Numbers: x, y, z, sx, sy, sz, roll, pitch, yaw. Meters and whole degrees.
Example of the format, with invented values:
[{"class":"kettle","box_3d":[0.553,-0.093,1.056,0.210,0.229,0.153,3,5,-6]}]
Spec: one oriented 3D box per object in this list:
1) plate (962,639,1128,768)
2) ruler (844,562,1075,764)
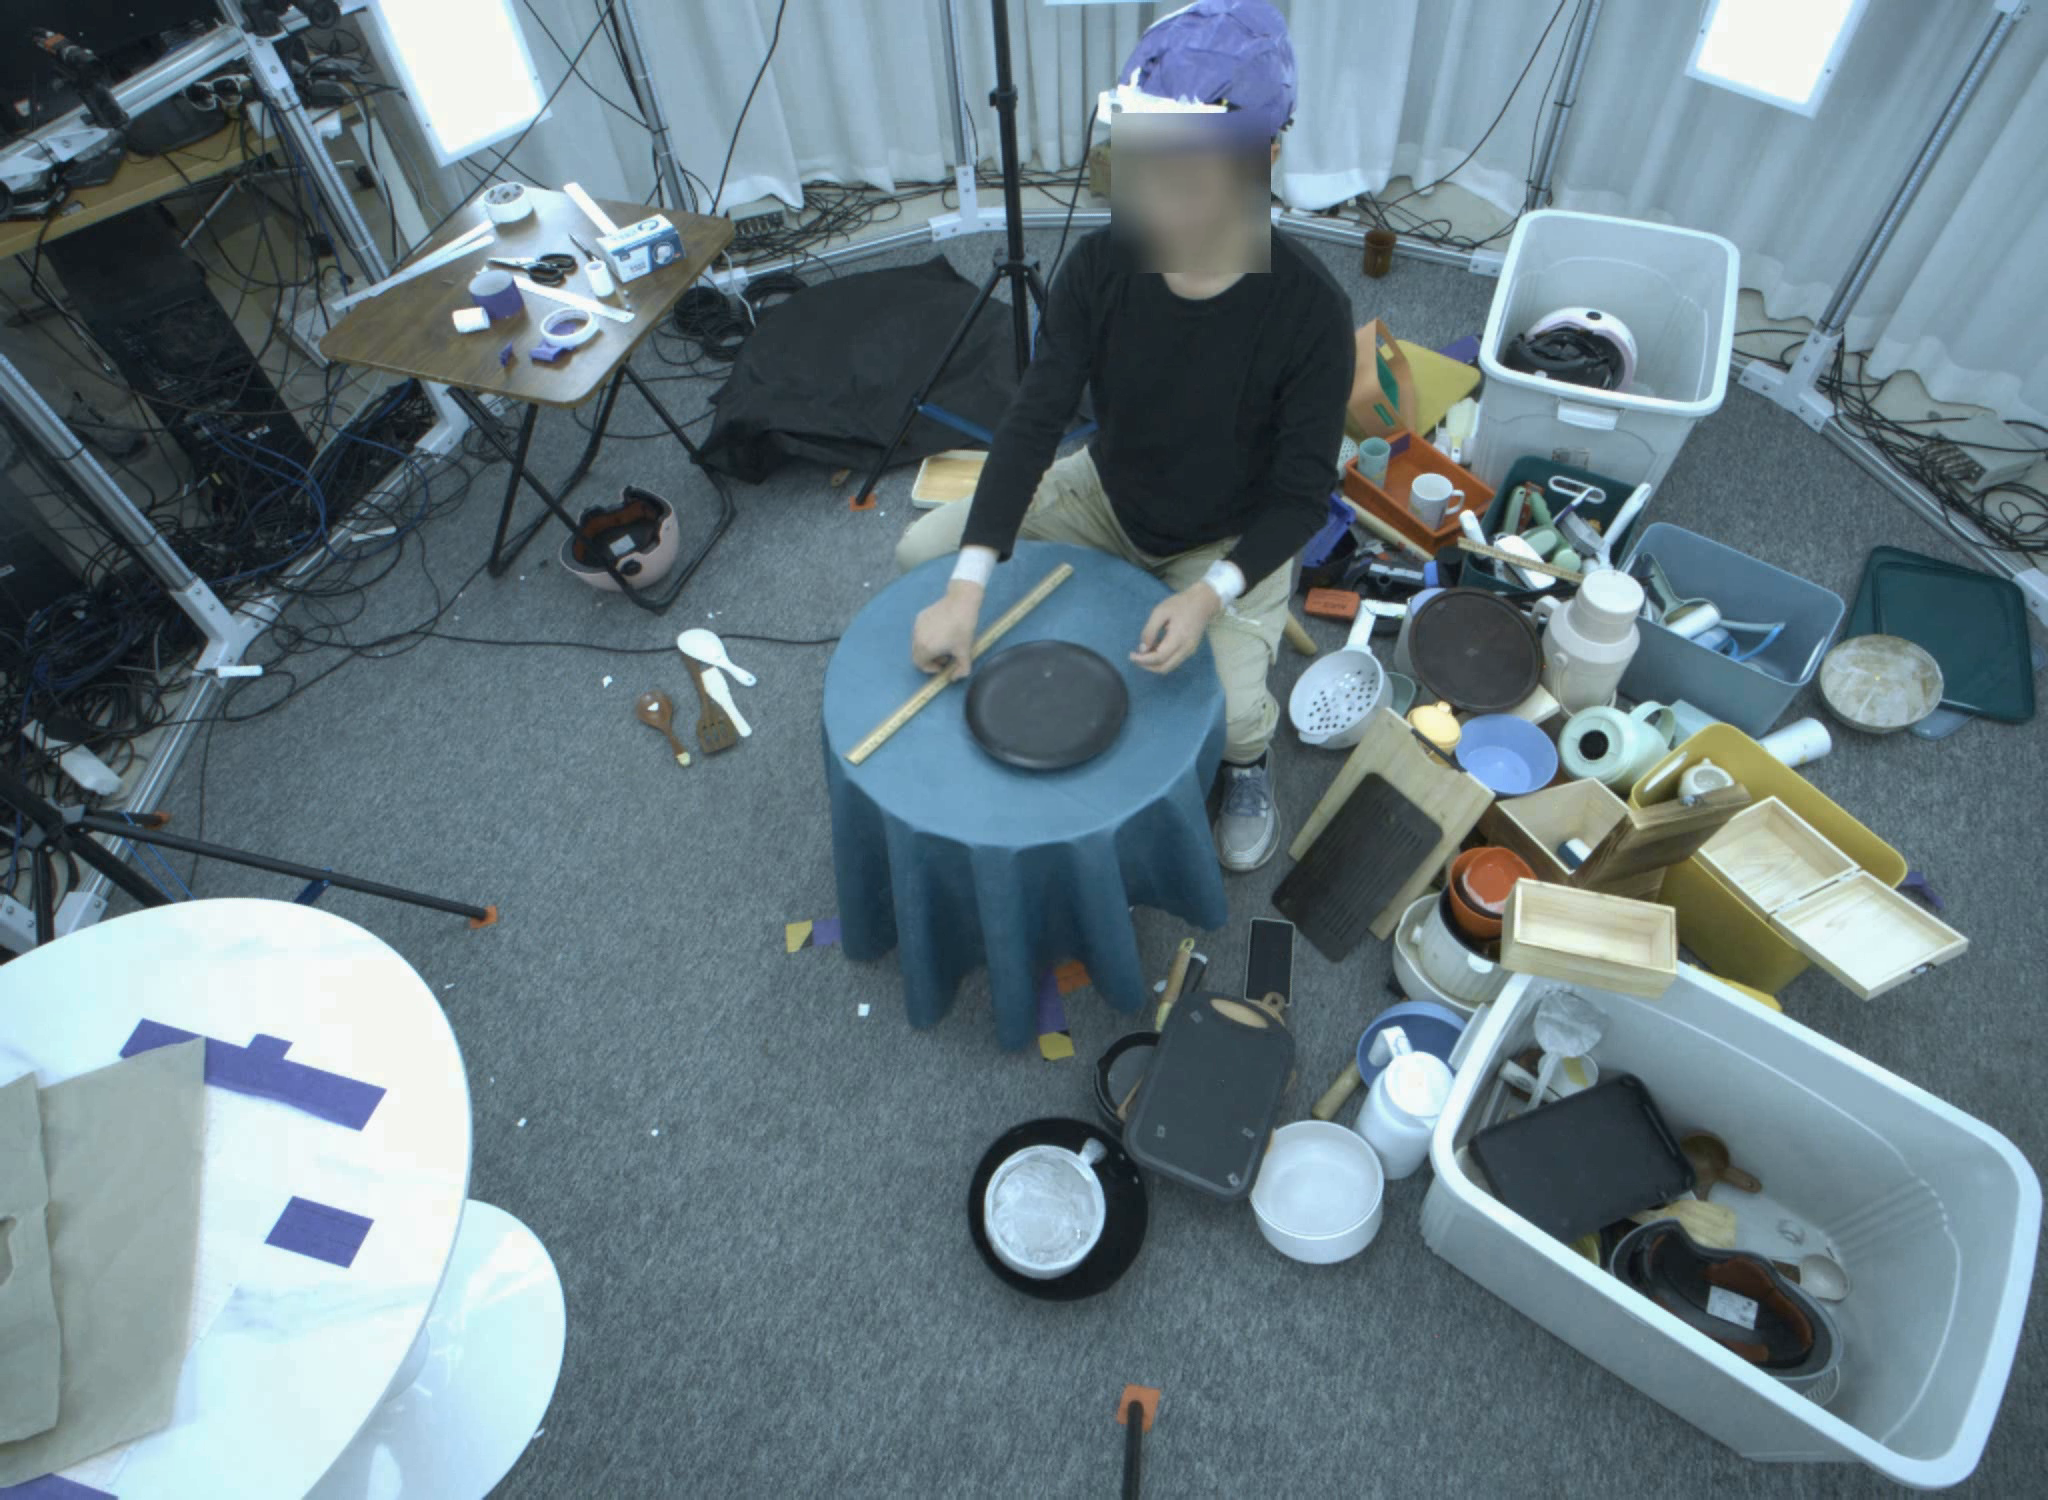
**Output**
[{"class":"plate","box_3d":[0.032,-0.066,1.819,0.244,0.024,0.242,0,55,2]},{"class":"ruler","box_3d":[-0.090,-0.142,1.888,0.026,0.006,0.503,35,63,22]}]
